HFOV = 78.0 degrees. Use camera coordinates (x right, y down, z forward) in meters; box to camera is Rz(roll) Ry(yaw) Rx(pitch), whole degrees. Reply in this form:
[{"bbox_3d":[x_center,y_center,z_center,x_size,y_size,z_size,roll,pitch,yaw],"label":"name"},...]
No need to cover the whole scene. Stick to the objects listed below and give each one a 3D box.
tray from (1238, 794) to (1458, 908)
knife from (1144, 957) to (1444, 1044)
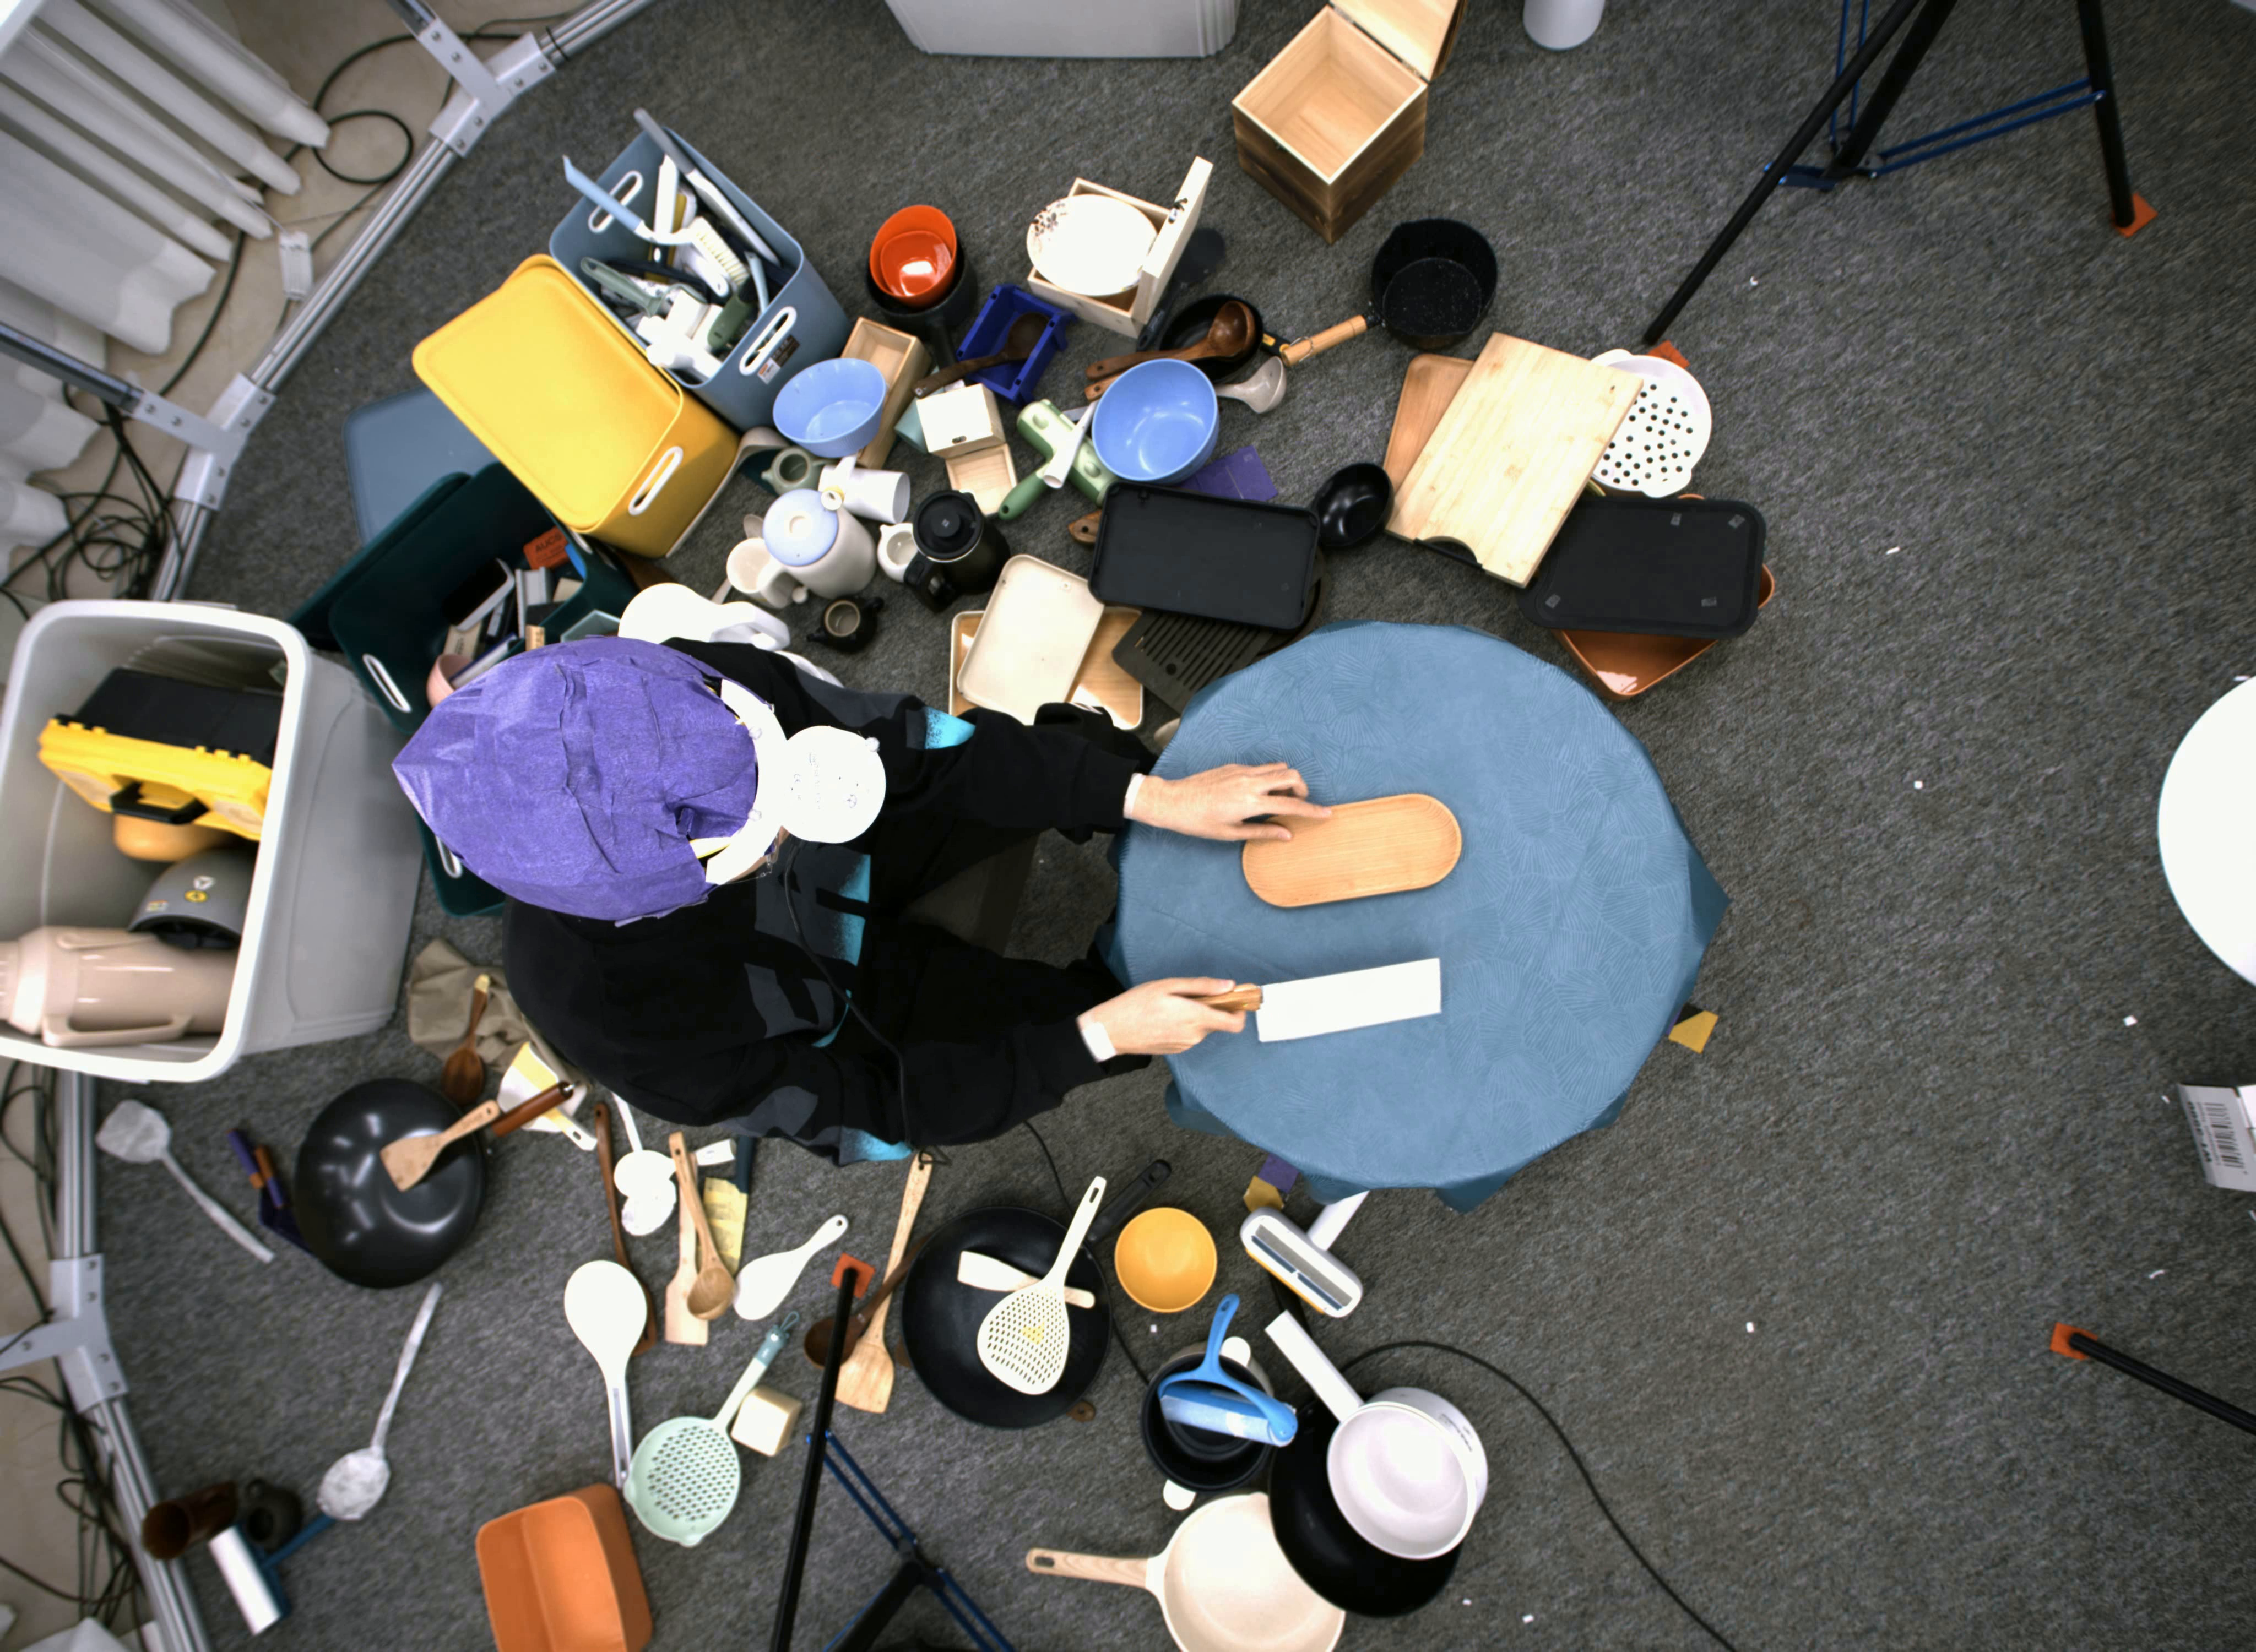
[{"bbox_3d":[0.232,0.026,1.461,0.232,0.020,0.101,-9,84,11],"label":"tray"},{"bbox_3d":[0.173,0.188,1.426,0.307,0.095,0.020,-10,41,6],"label":"knife"}]
